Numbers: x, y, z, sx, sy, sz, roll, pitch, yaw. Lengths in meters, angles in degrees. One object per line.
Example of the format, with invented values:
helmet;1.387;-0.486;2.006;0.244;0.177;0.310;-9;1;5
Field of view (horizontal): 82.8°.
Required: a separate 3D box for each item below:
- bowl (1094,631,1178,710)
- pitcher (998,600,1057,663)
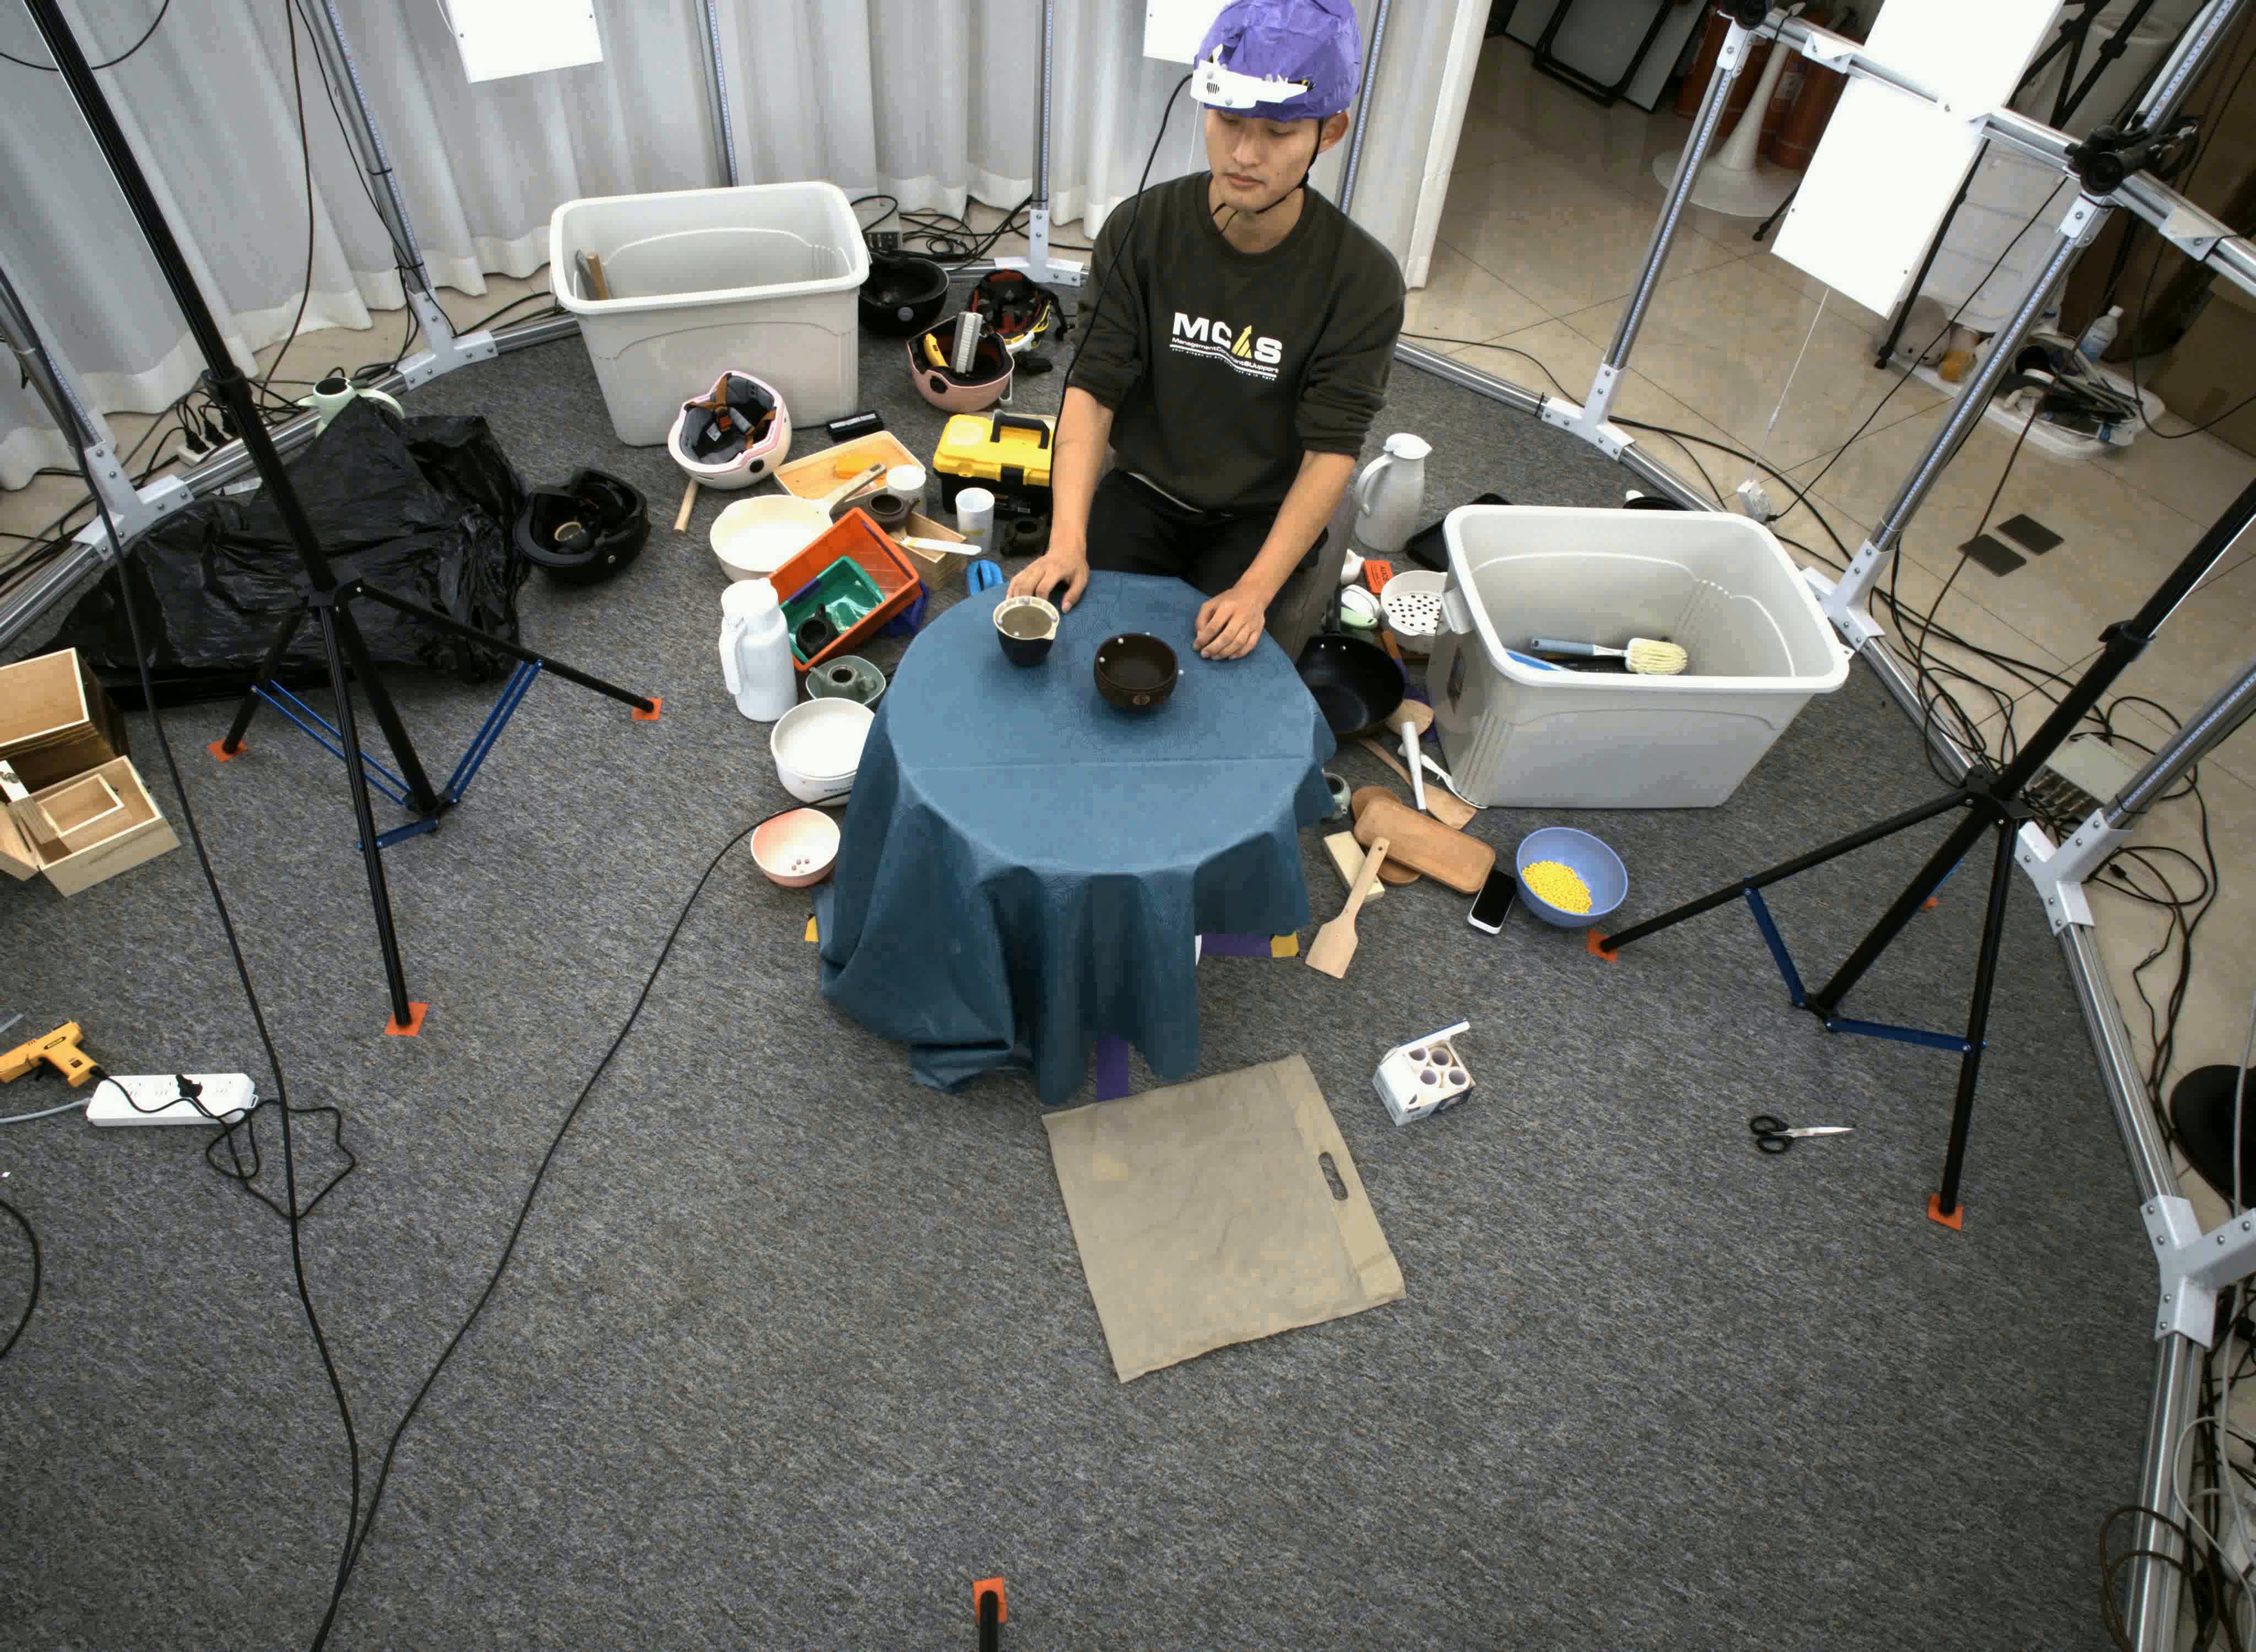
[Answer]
bowl;0.010;-0.210;1.801;0.118;0.068;0.121;1;51;-2
pitcher;-0.141;-0.274;1.844;0.084;0.069;0.097;-29;56;-28
